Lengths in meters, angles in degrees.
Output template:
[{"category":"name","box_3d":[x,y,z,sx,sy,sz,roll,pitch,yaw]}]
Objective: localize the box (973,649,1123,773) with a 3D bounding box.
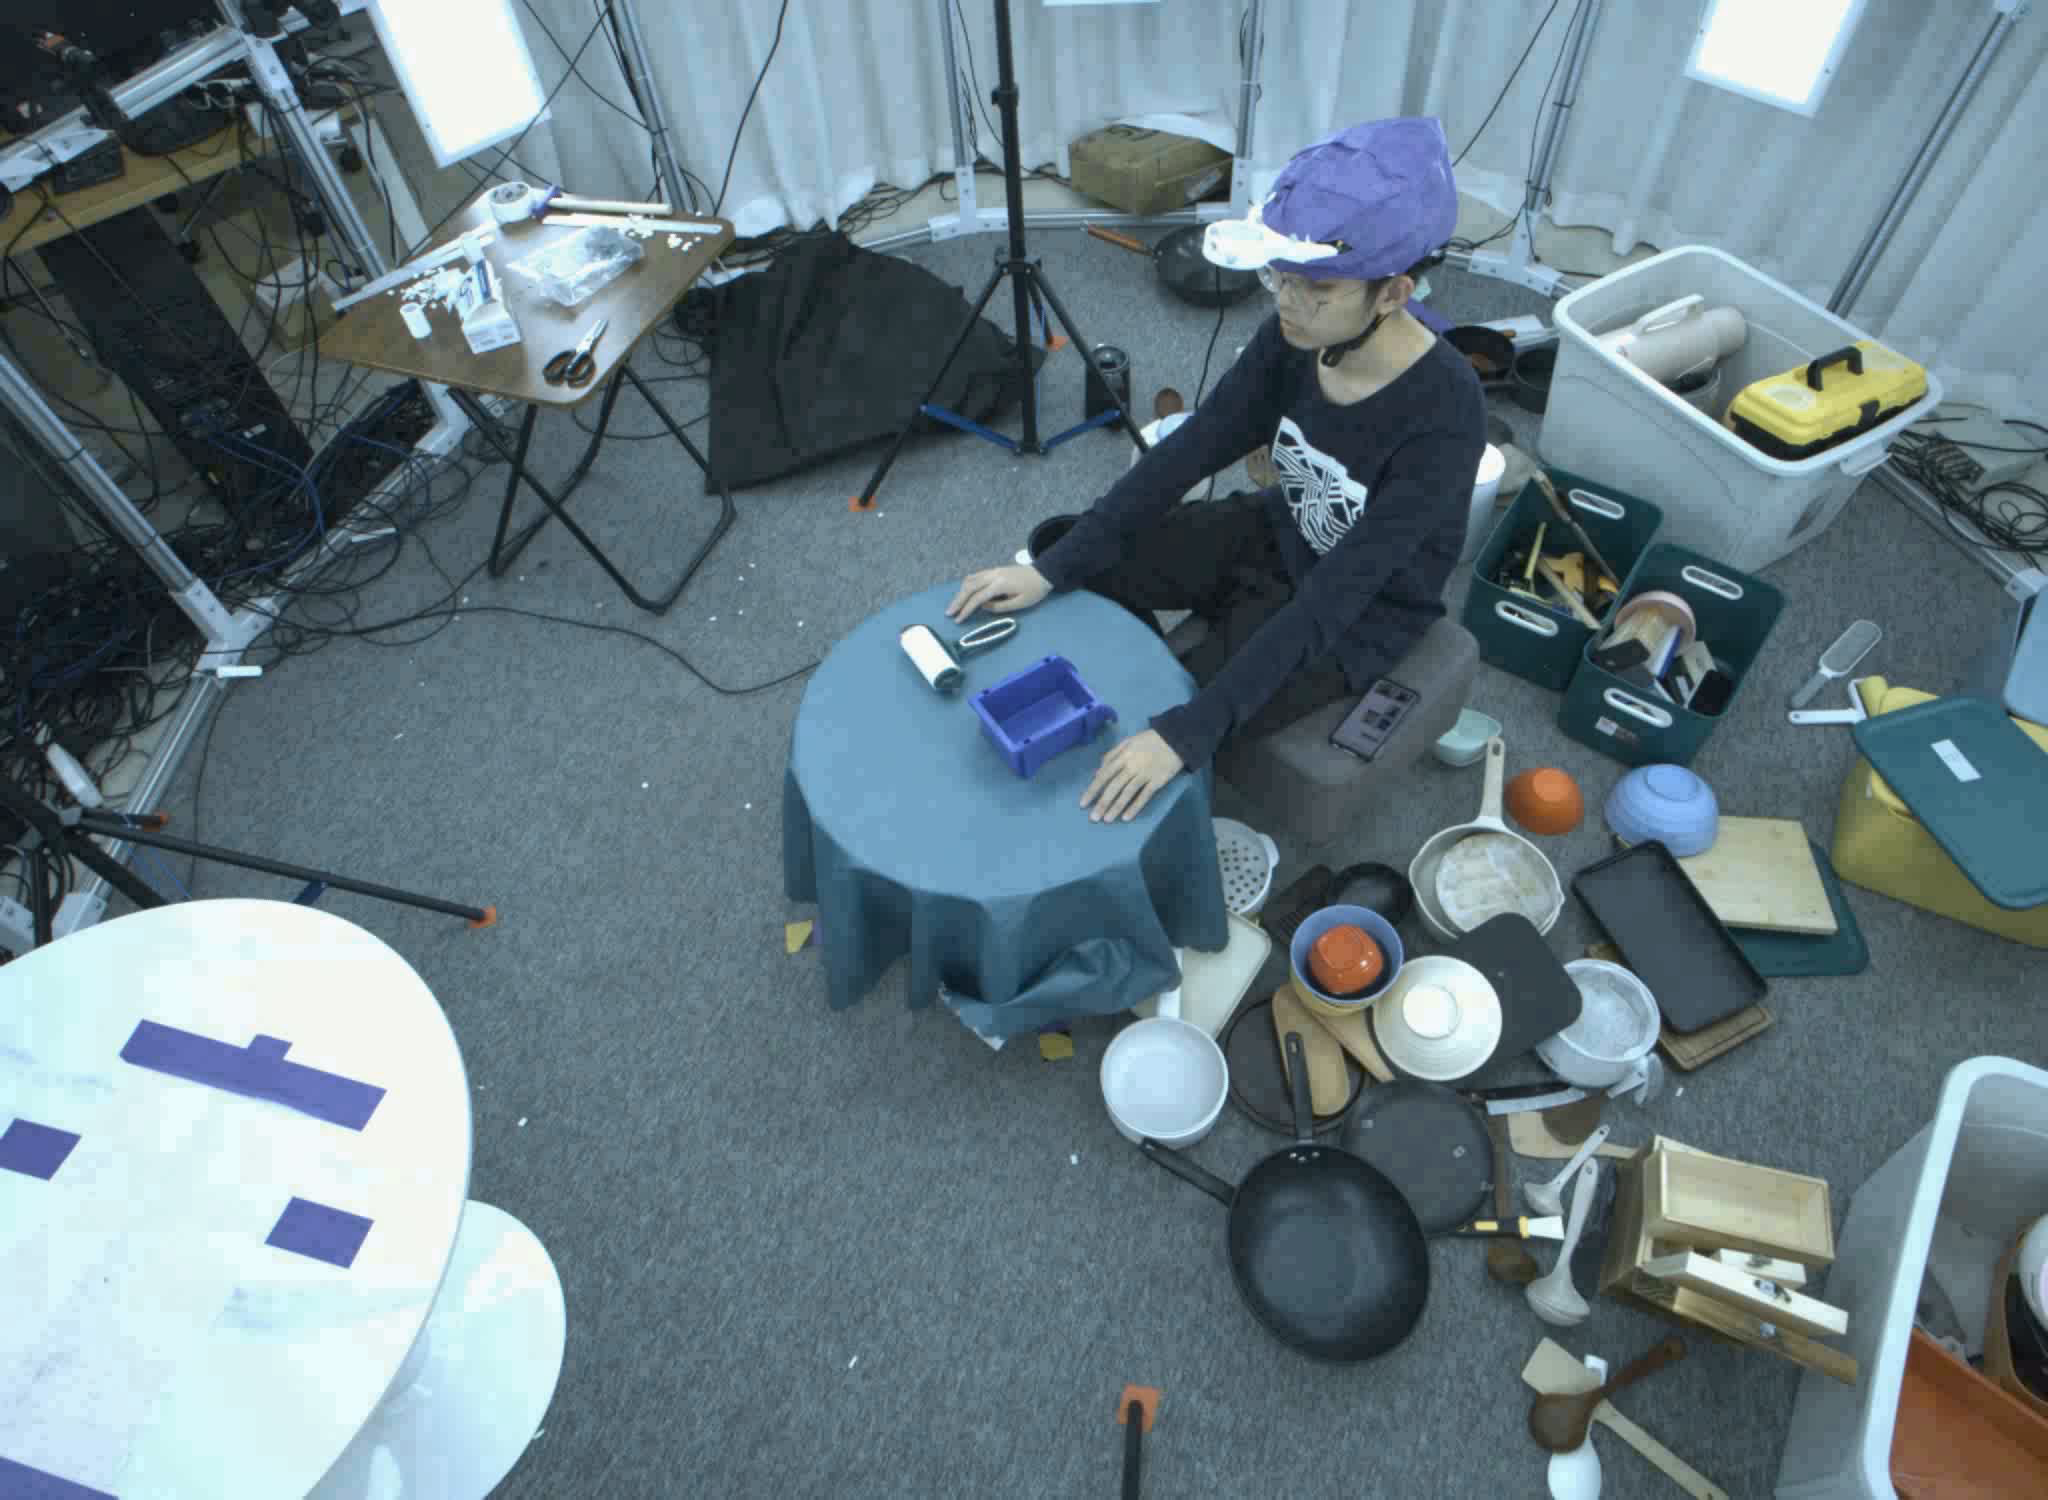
[{"category":"box","box_3d":[0.035,-0.061,1.787,0.180,0.083,0.122,-29,57,-15]}]

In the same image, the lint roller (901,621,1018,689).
[{"category":"lint roller","box_3d":[-0.088,-0.171,1.894,0.182,0.049,0.132,-27,59,-21]}]
